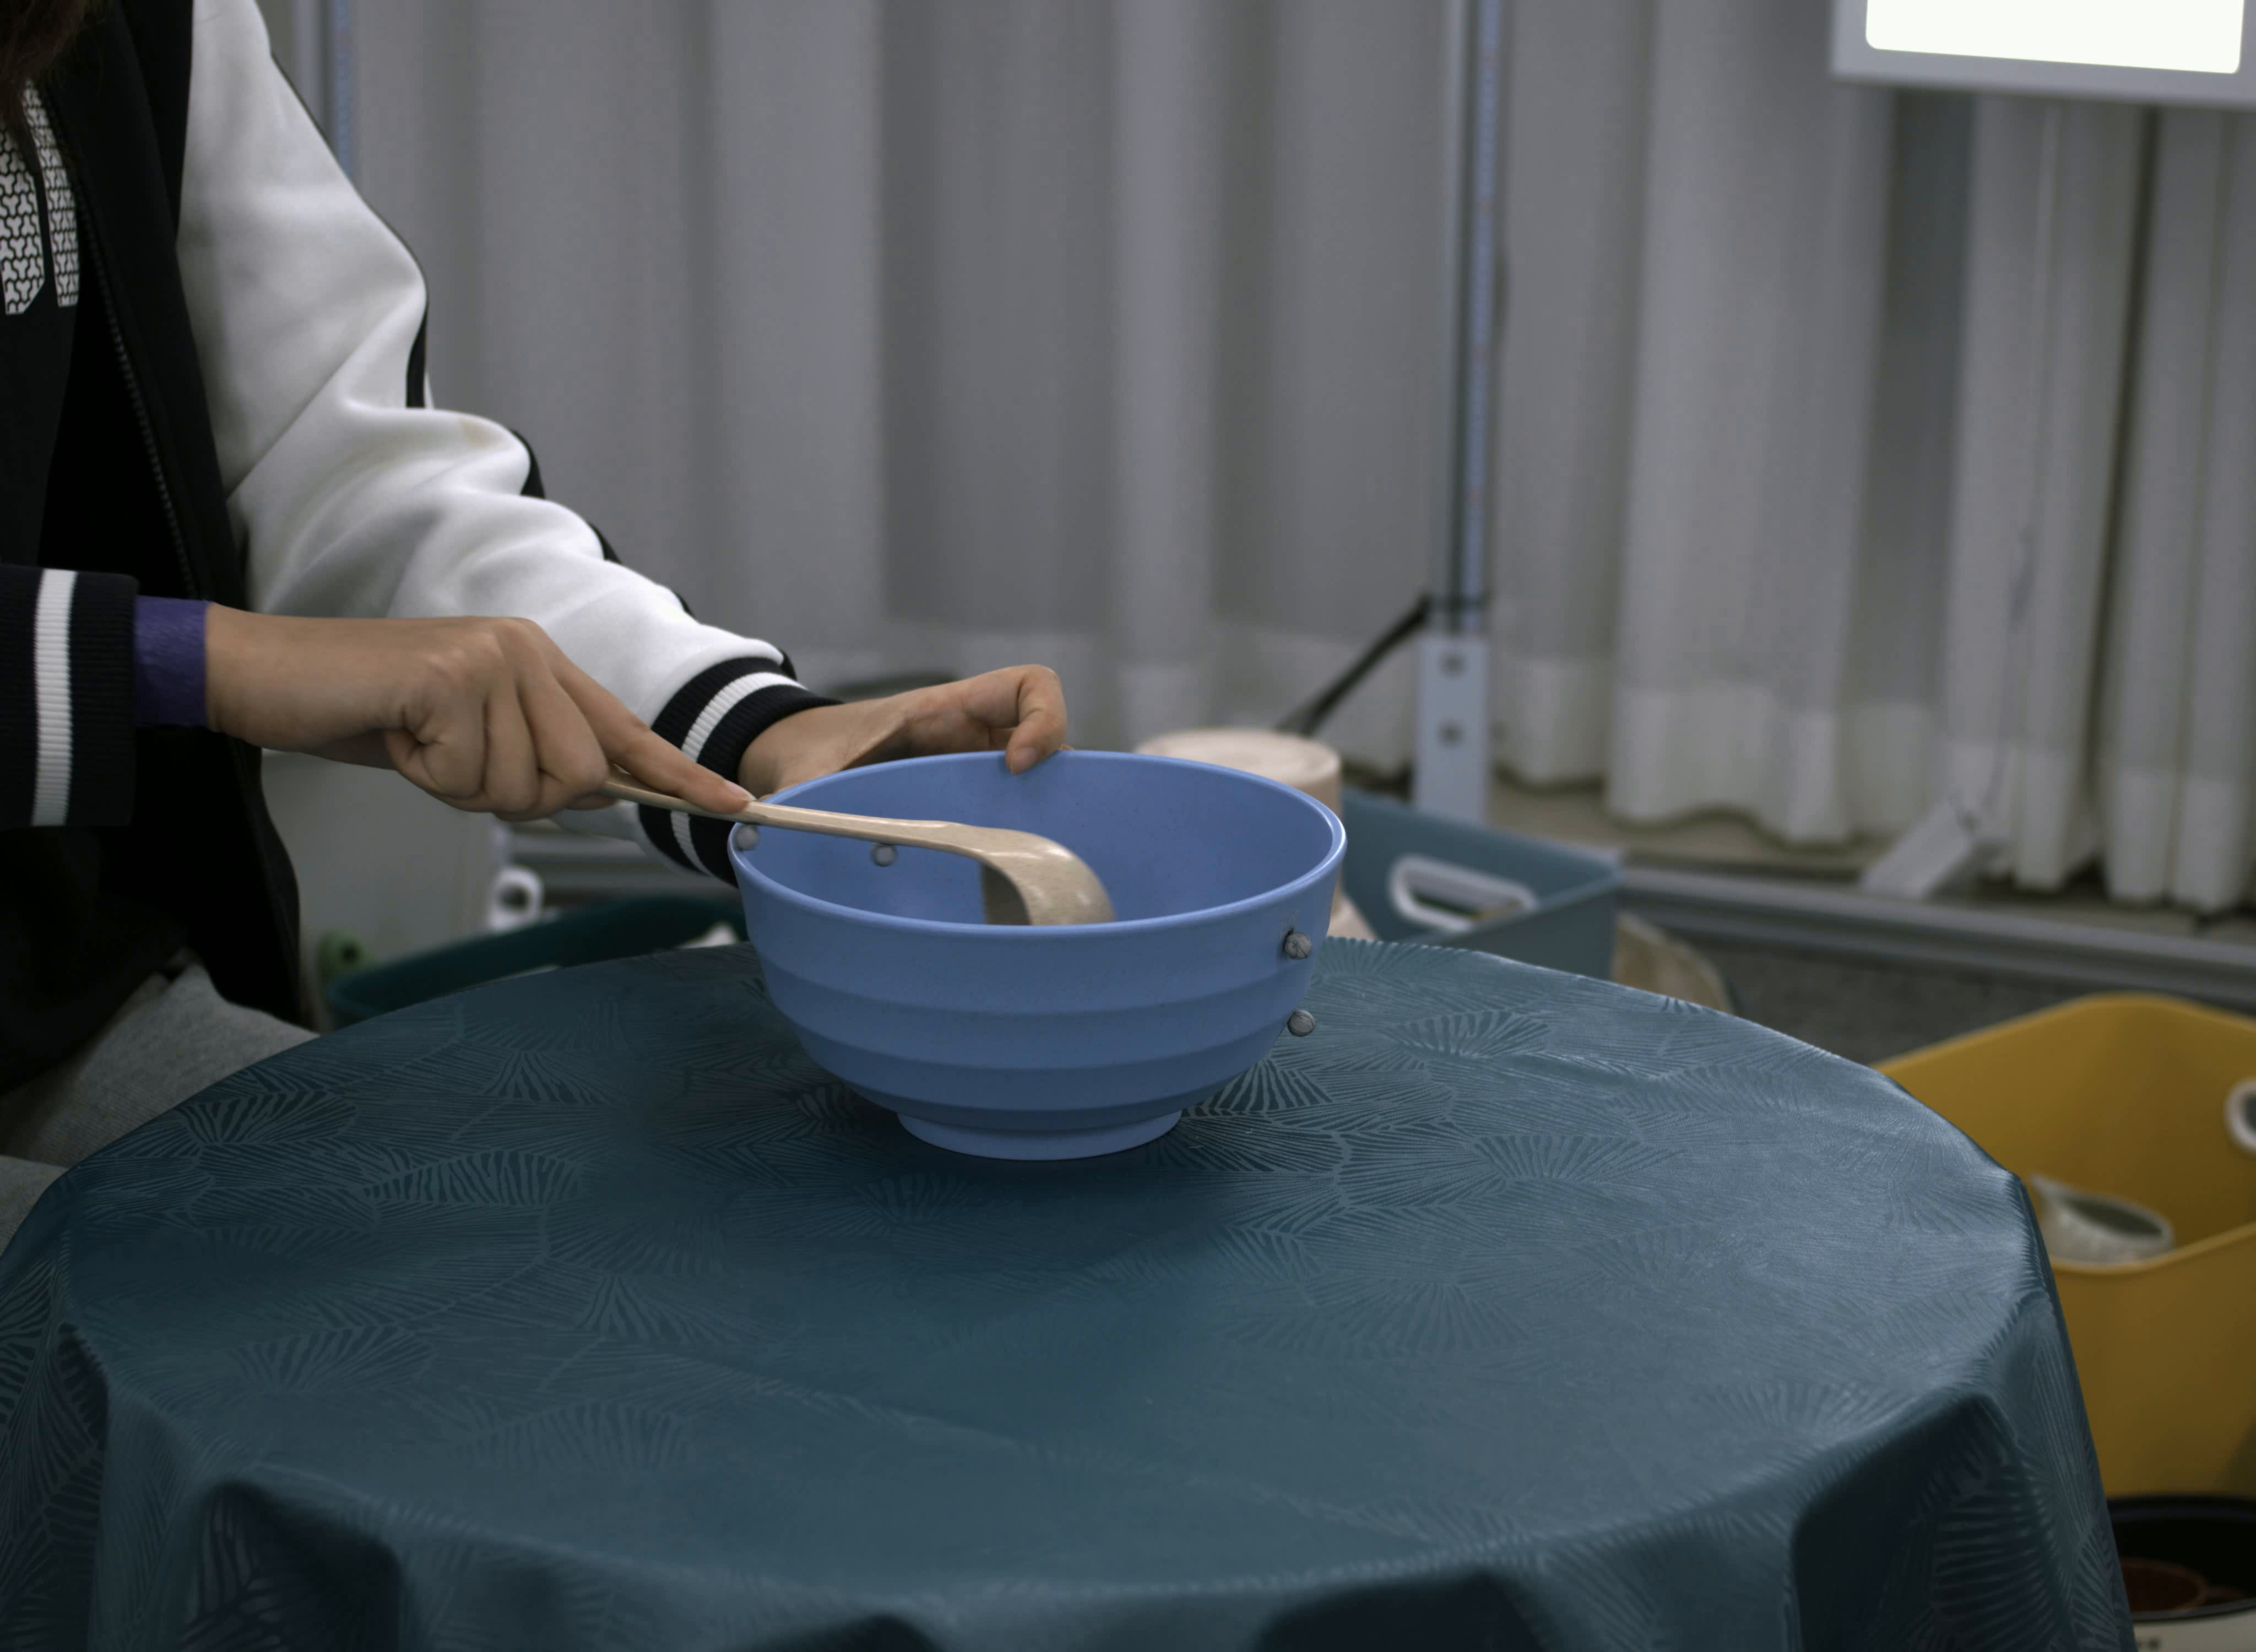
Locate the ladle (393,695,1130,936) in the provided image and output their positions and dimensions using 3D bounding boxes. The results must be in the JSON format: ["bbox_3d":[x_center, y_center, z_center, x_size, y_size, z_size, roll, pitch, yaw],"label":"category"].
[{"bbox_3d":[-0.120,0.019,1.659,0.256,0.073,0.071,12,21,-23],"label":"ladle"}]

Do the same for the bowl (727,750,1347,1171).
[{"bbox_3d":[-0.028,0.050,1.677,0.196,0.096,0.195,-1,18,1],"label":"bowl"}]
